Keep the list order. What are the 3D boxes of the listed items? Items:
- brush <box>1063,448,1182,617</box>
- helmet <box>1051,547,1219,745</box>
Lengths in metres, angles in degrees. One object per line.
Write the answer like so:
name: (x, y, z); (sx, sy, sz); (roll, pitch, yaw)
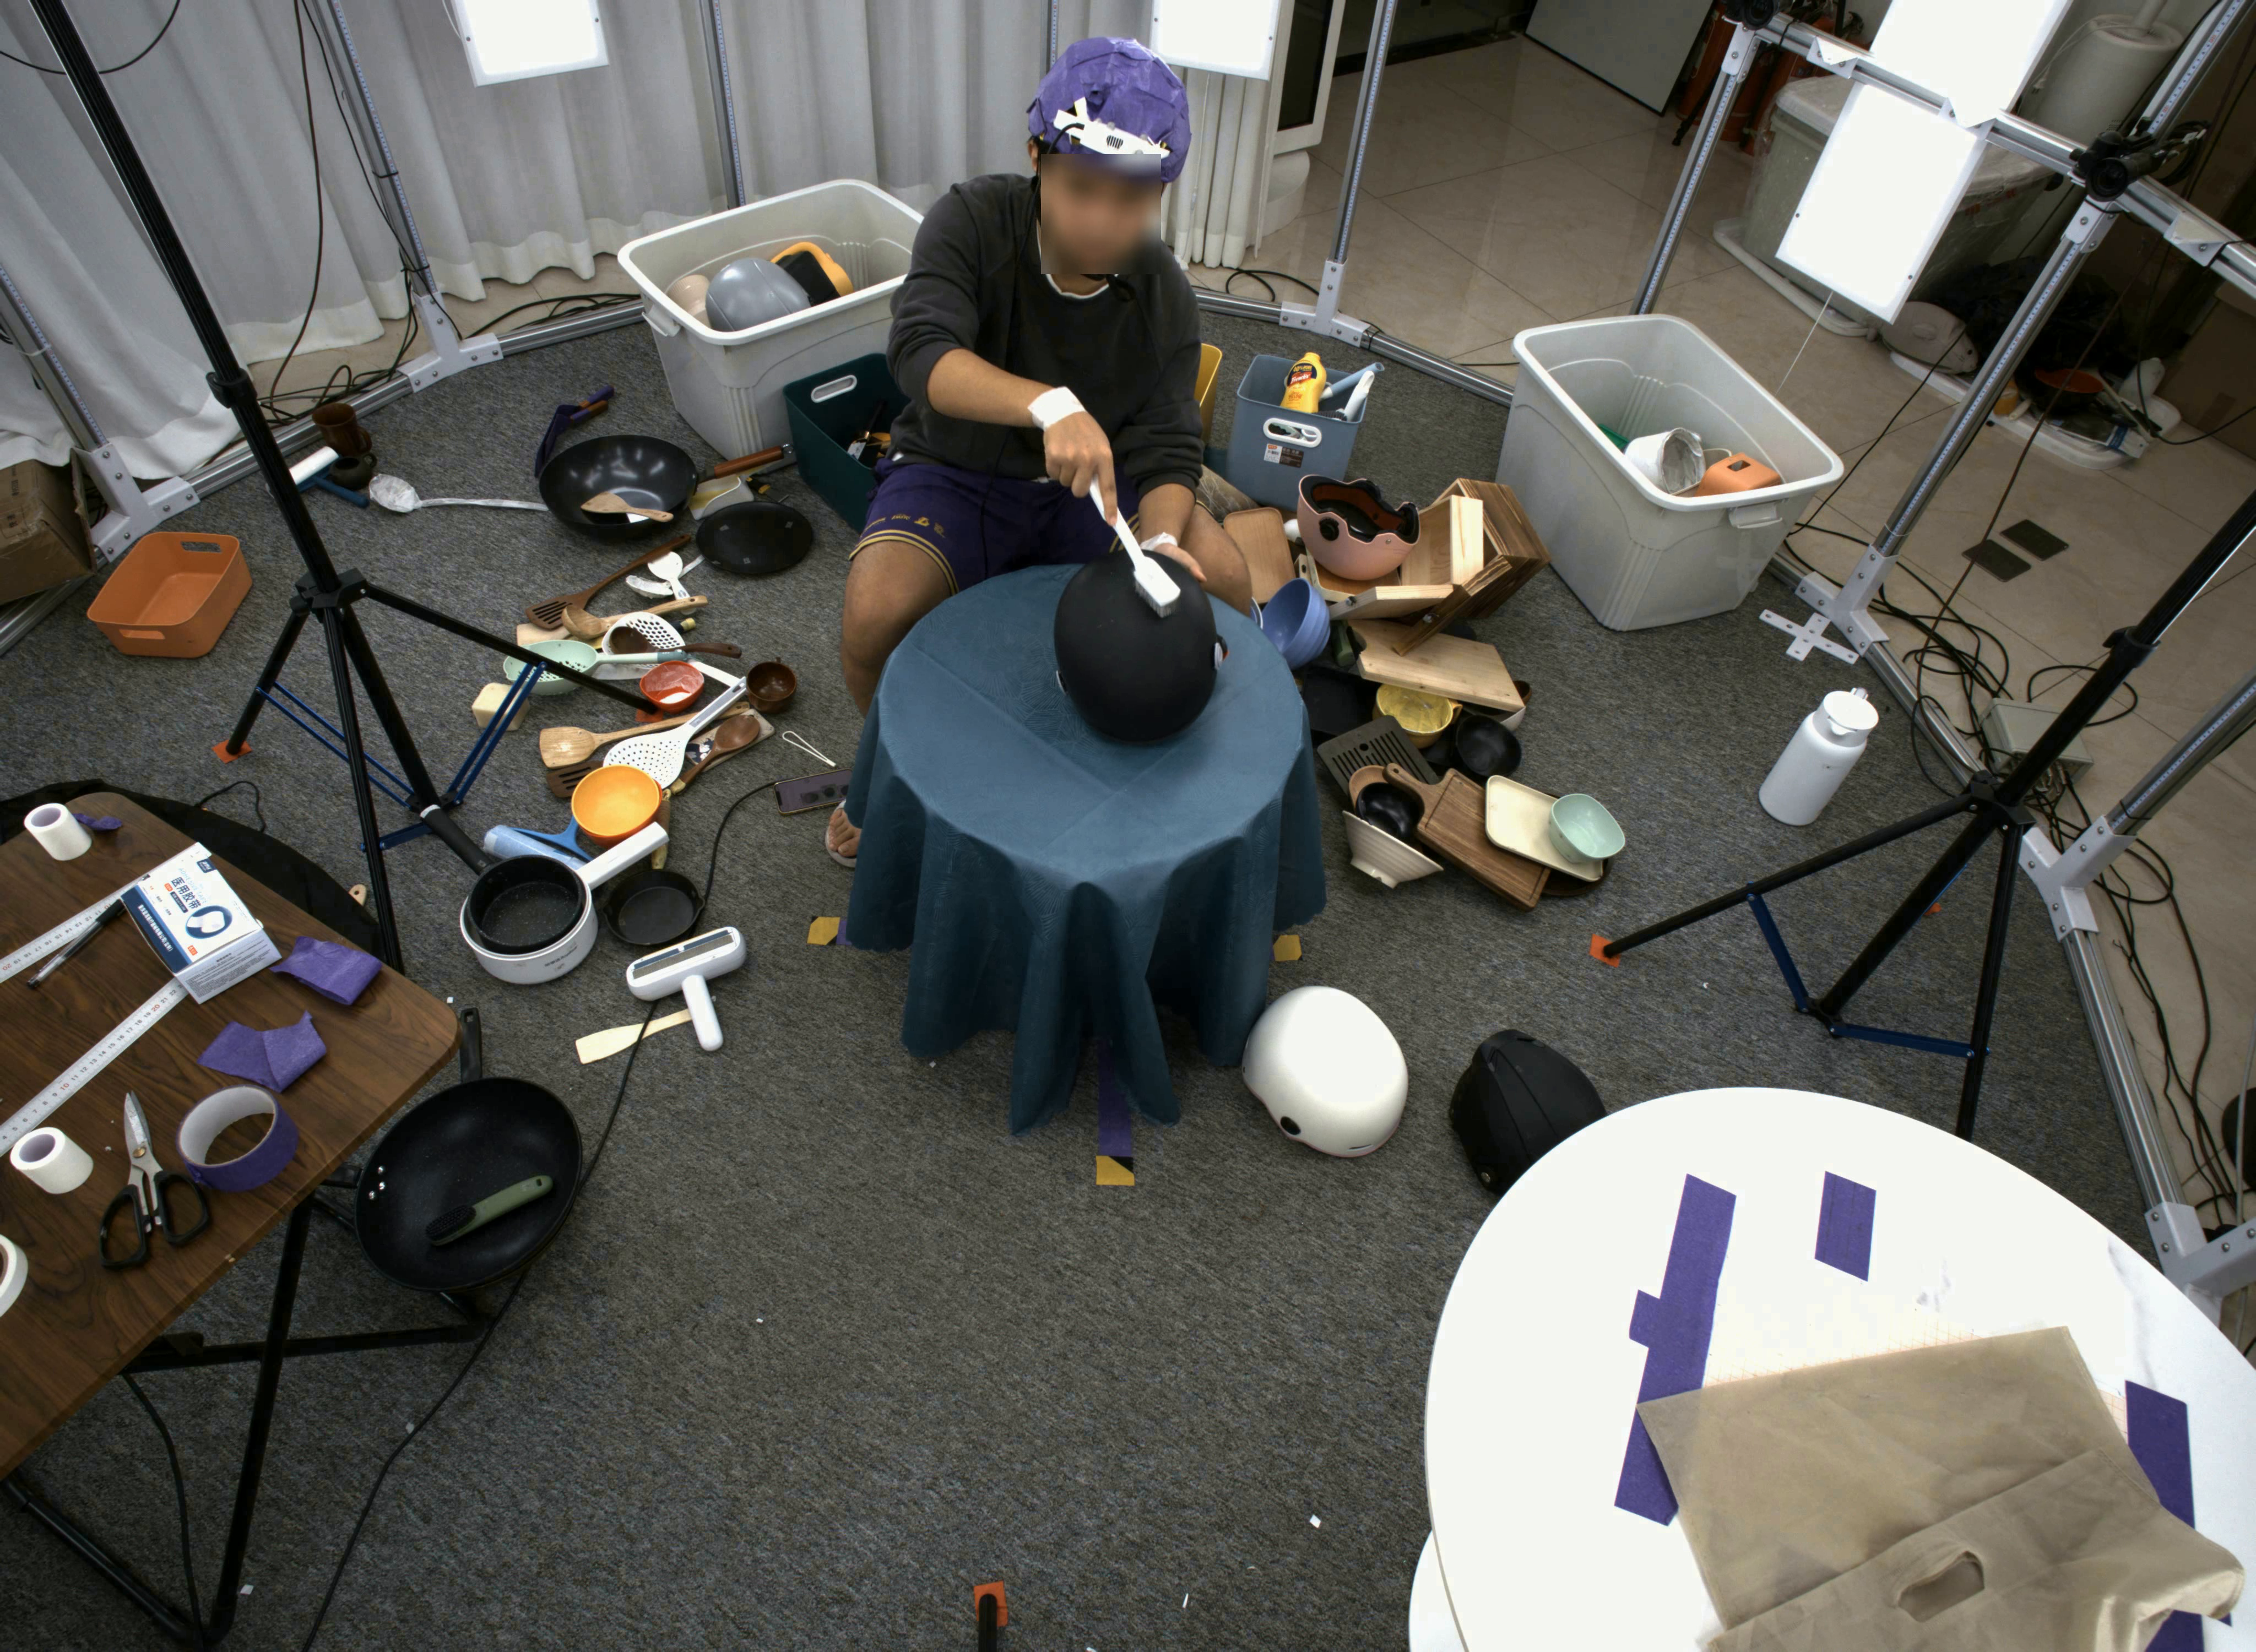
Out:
brush: (-0.011, -0.375, 1.652); (0.034, 0.050, 0.244); (-35, 87, -17)
helmet: (0.002, -0.262, 1.738); (0.230, 0.164, 0.278); (-7, 69, 12)
